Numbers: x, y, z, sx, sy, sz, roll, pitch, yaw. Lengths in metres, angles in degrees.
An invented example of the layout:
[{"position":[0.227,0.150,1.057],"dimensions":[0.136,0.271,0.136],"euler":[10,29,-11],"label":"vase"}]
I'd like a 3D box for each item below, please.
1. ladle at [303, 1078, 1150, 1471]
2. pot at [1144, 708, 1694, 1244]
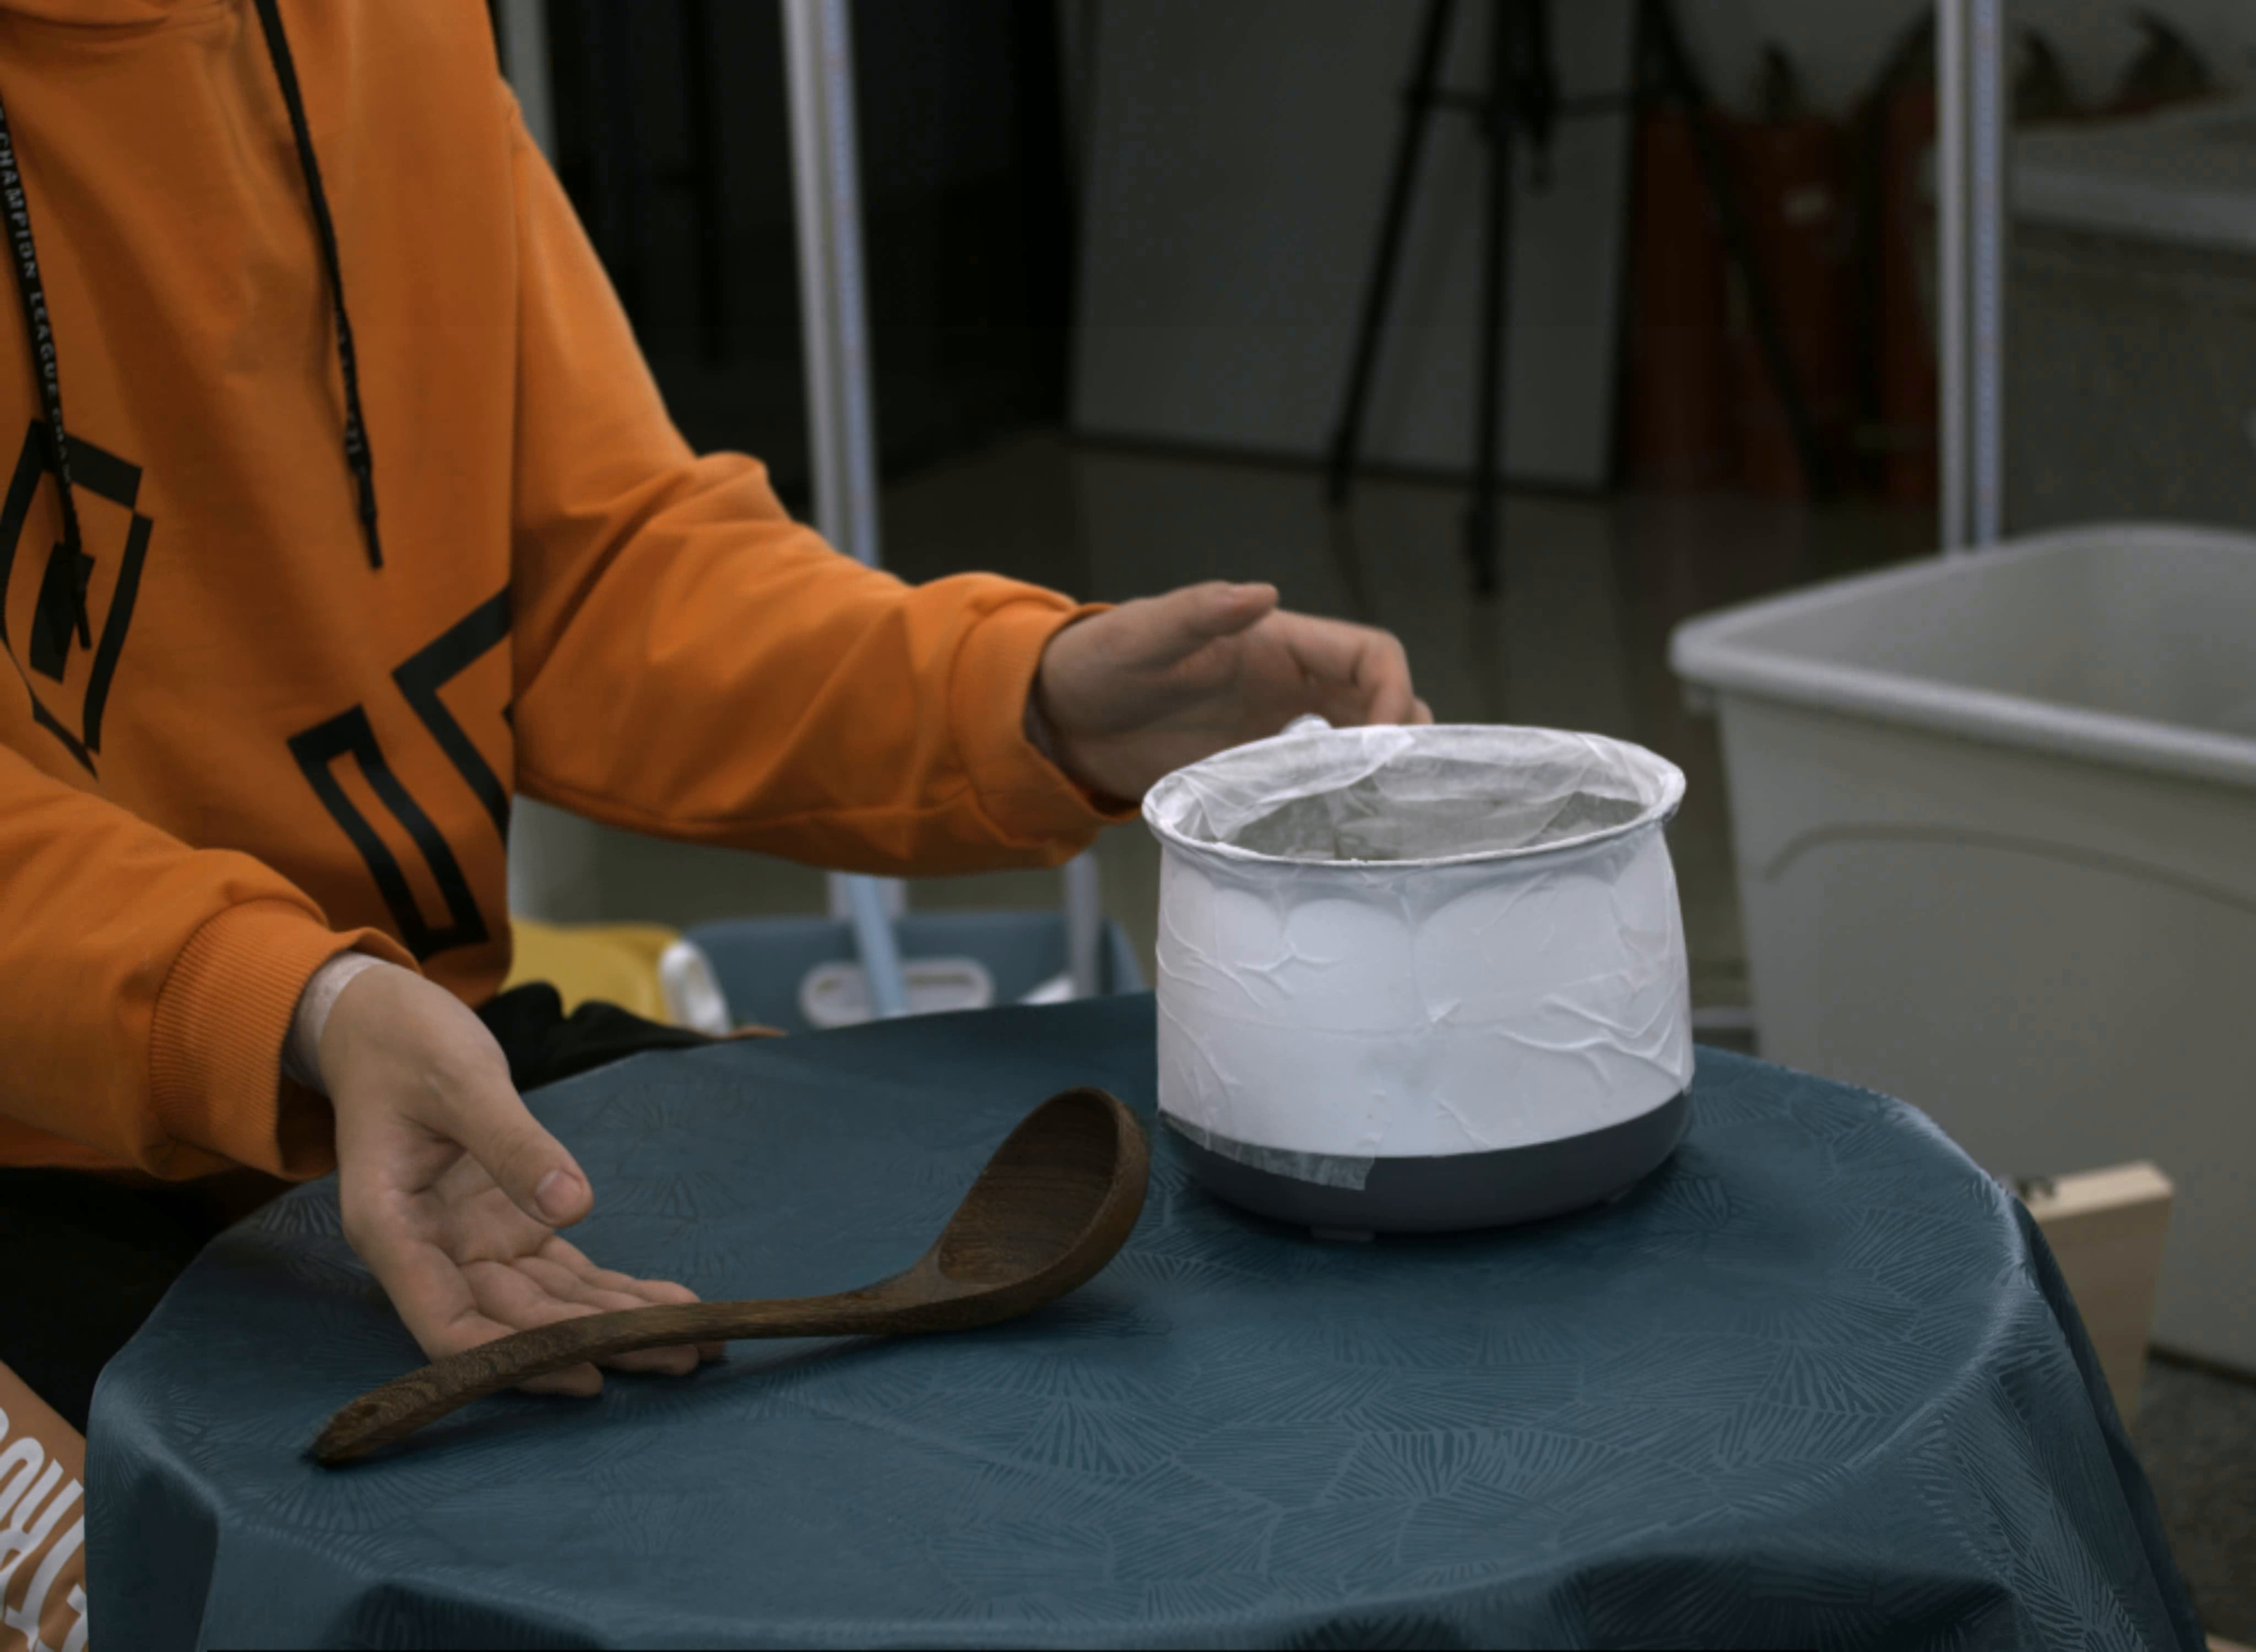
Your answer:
[{"position":[-0.118,0.131,1.617],"dimensions":[0.268,0.072,0.077],"euler":[-9,12,-24],"label":"ladle"},{"position":[0.086,0.043,1.774],"dimensions":[0.175,0.138,0.236],"euler":[-8,14,-17],"label":"pot"}]
